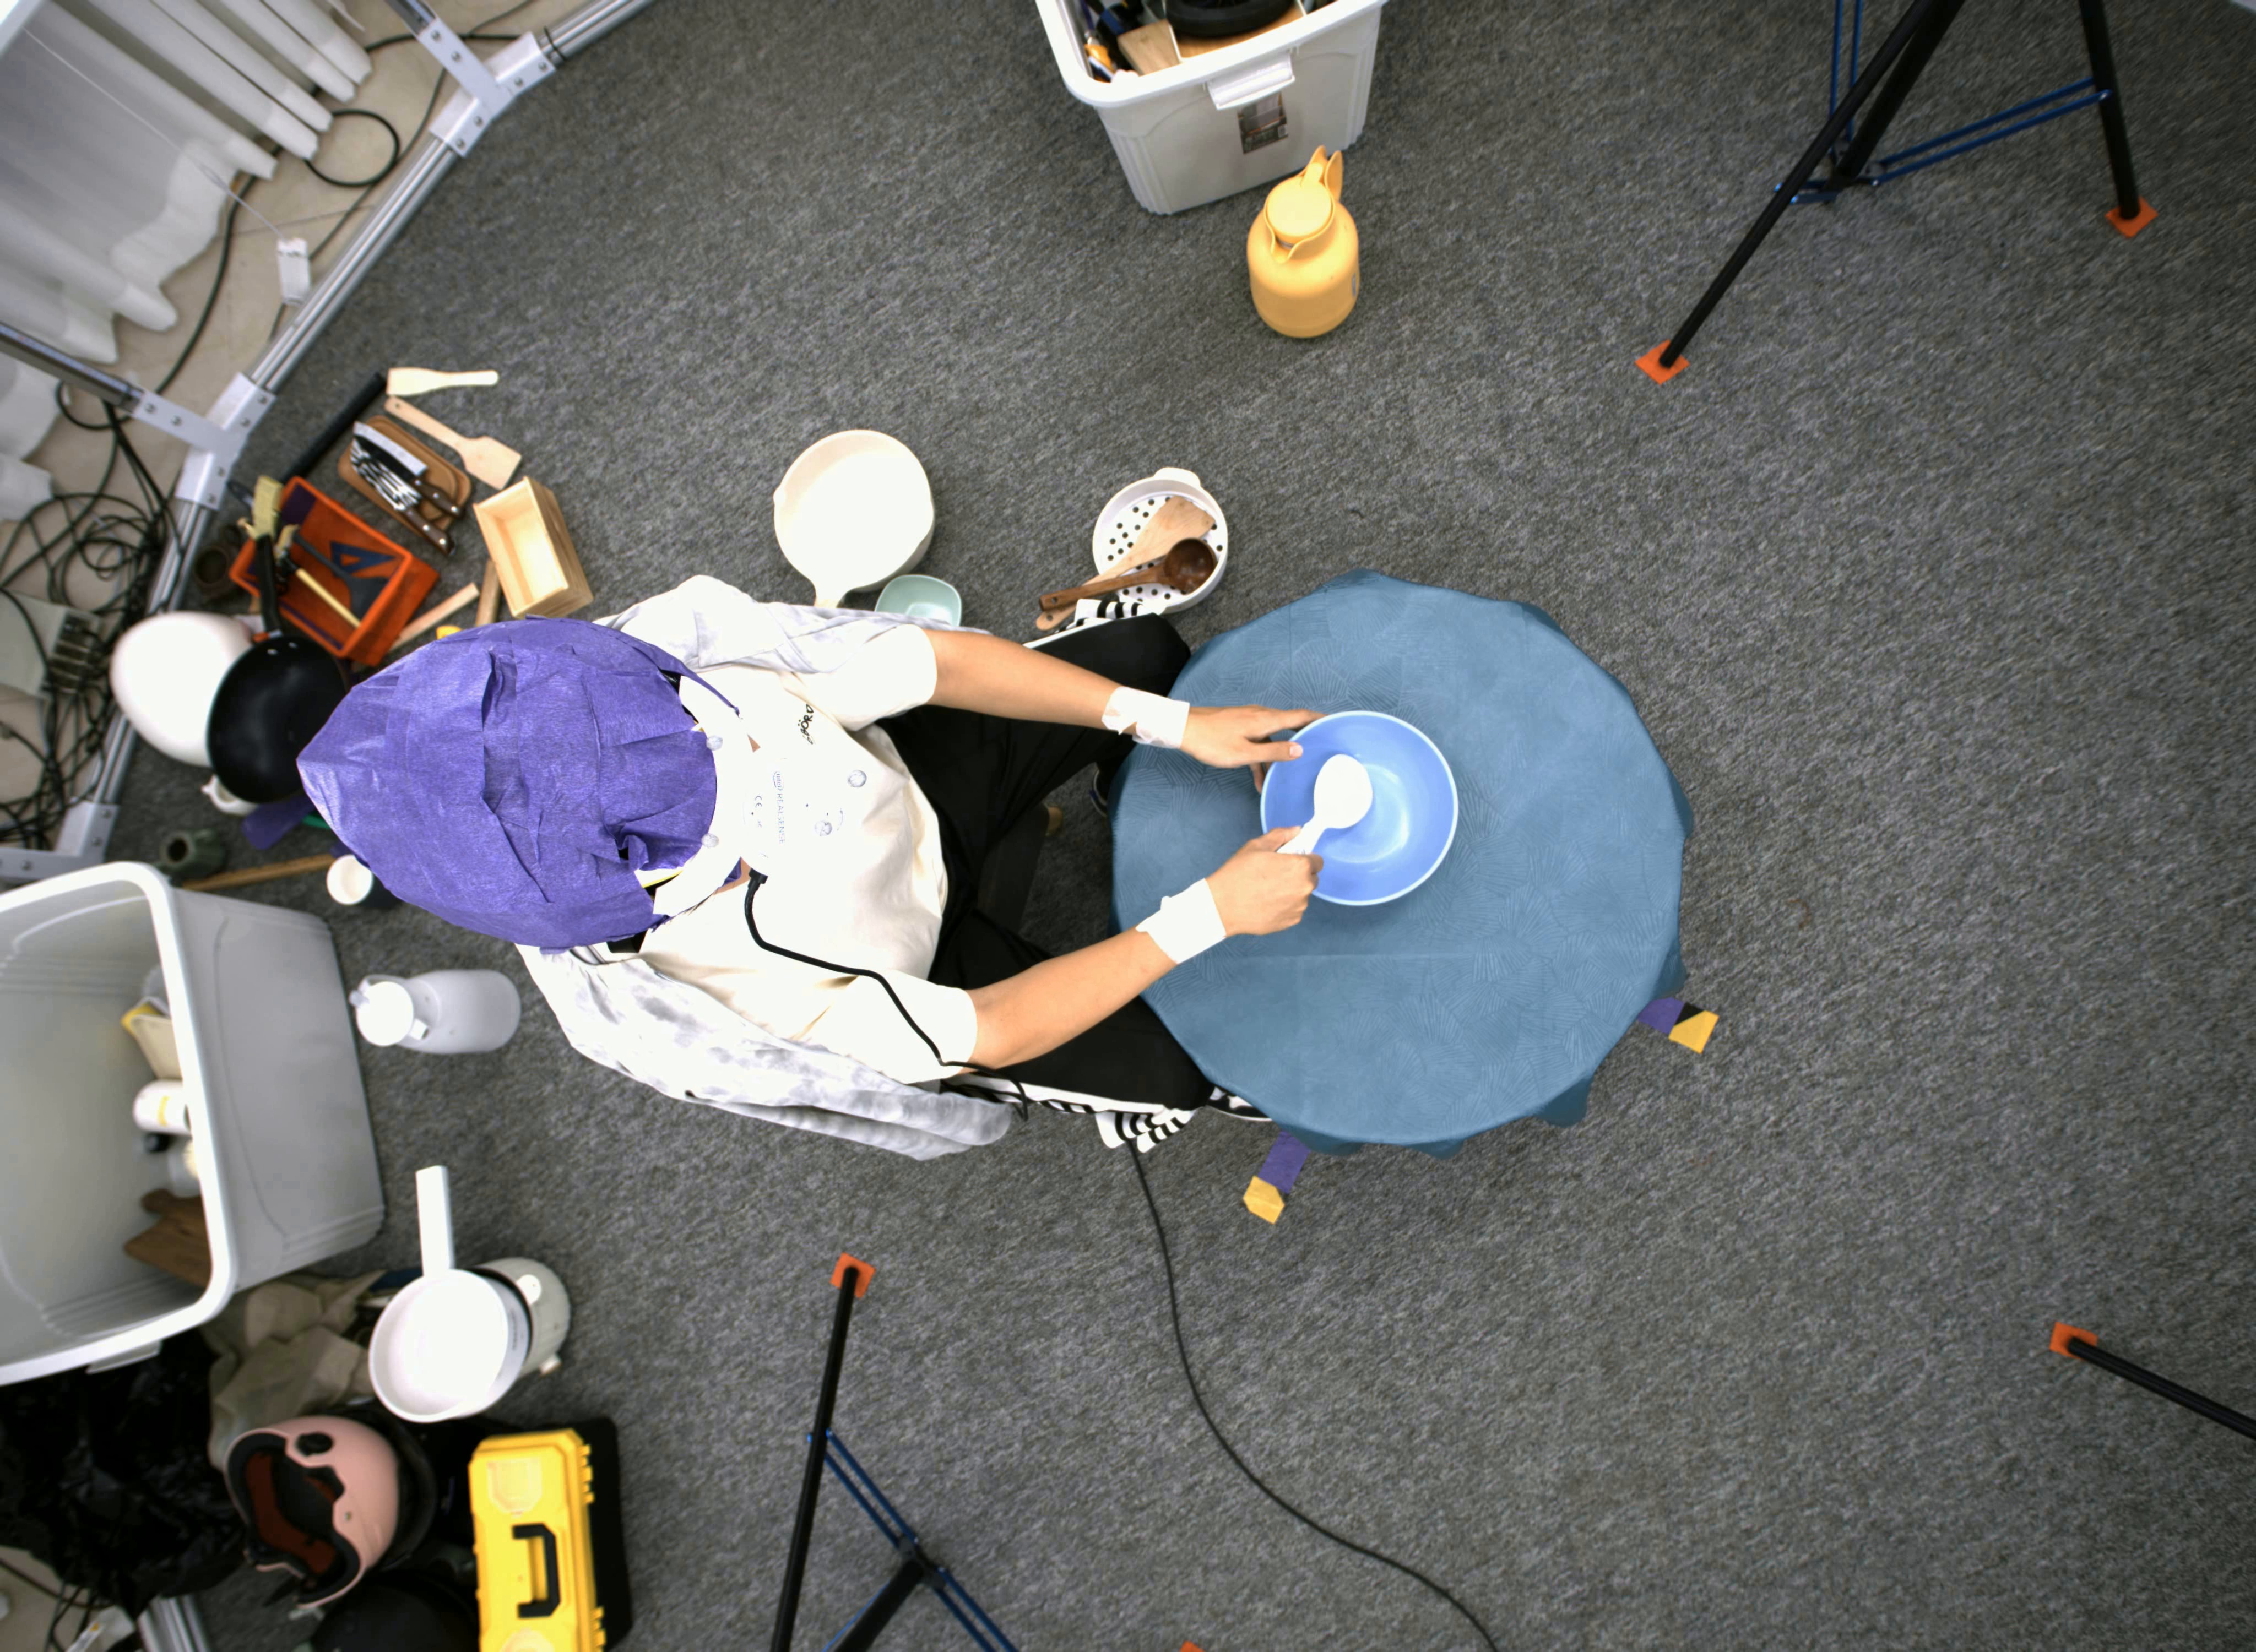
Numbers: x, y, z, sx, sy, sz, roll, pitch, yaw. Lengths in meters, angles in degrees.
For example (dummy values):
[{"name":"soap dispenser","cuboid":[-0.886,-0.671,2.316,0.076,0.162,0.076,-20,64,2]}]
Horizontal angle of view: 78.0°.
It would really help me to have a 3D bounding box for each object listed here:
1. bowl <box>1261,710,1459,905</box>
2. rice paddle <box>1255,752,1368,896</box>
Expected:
[{"name":"bowl","cuboid":[0.237,-0.016,1.419,0.197,0.095,0.196,-1,87,8]},{"name":"rice paddle","cuboid":[0.190,-0.006,1.395,0.069,0.030,0.200,50,54,-12]}]
